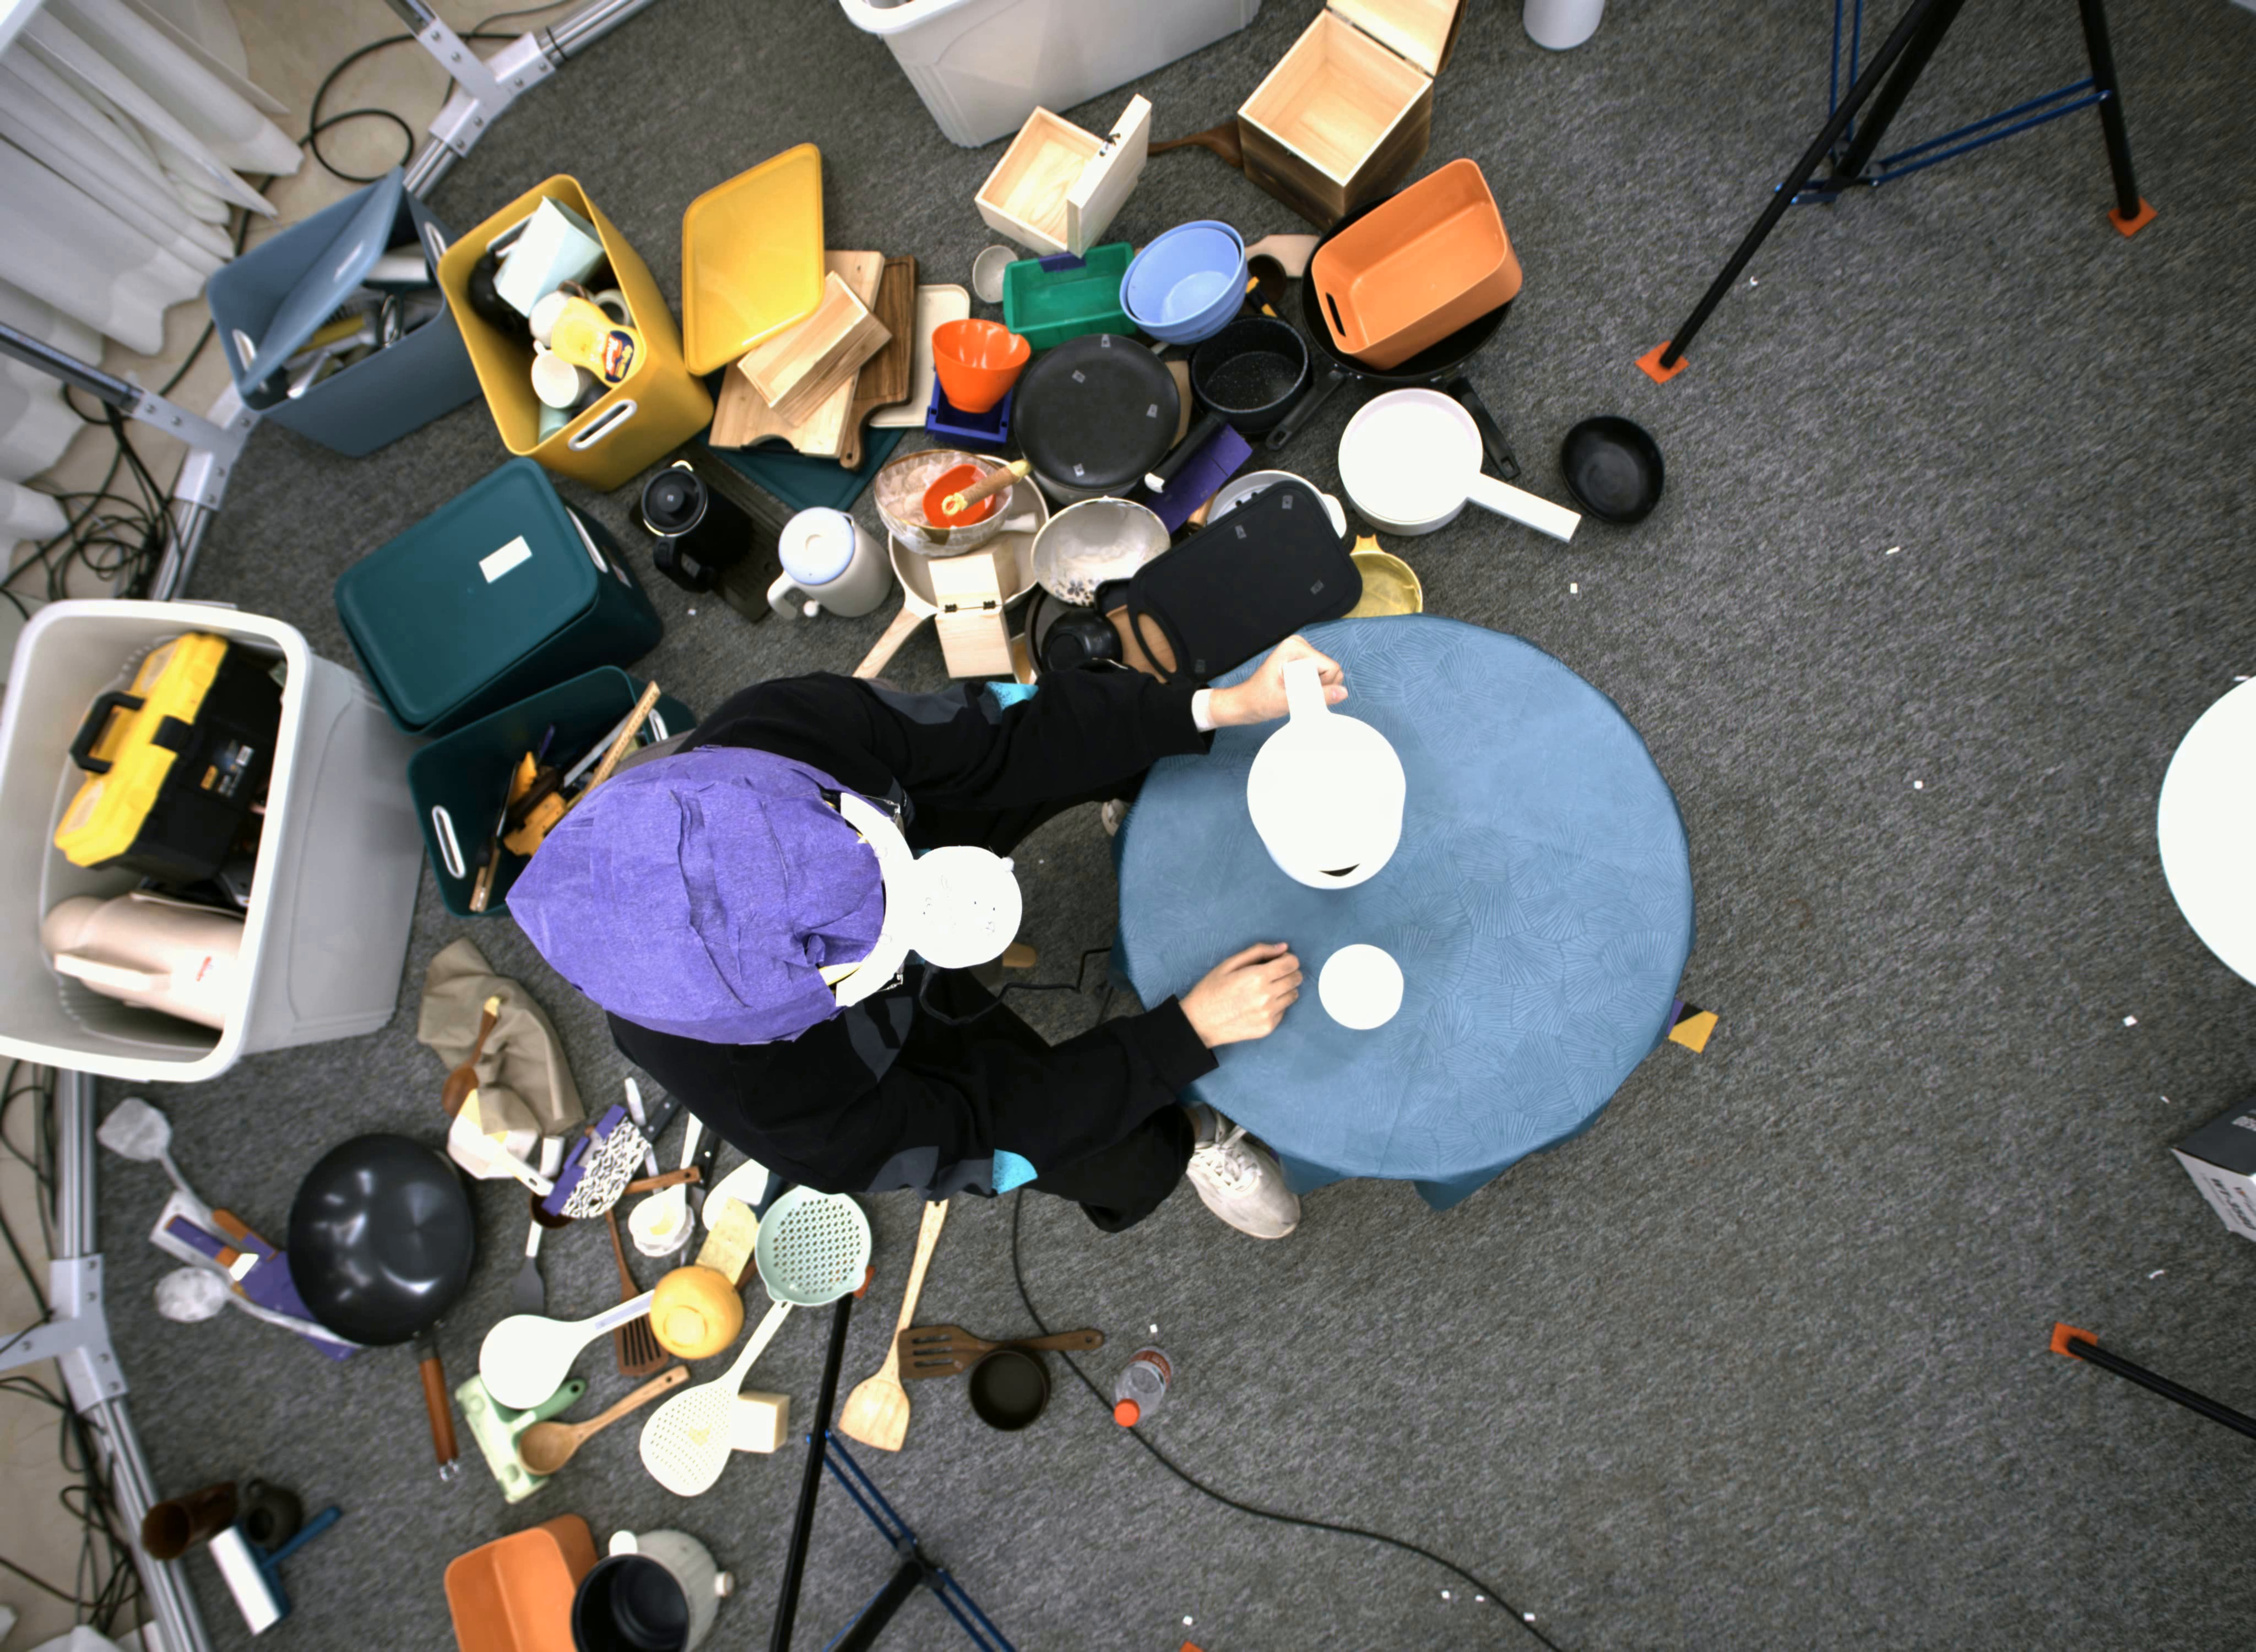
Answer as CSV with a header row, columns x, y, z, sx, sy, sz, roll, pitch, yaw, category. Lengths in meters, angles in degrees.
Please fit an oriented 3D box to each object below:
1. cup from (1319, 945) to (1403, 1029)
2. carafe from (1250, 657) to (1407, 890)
x,y,z,sx,sy,sz,roll,pitch,yaw,category
0.235,0.160,1.394,0.082,0.125,0.081,-1,85,10,cup
0.194,-0.046,1.357,0.153,0.240,0.212,-11,85,7,carafe
